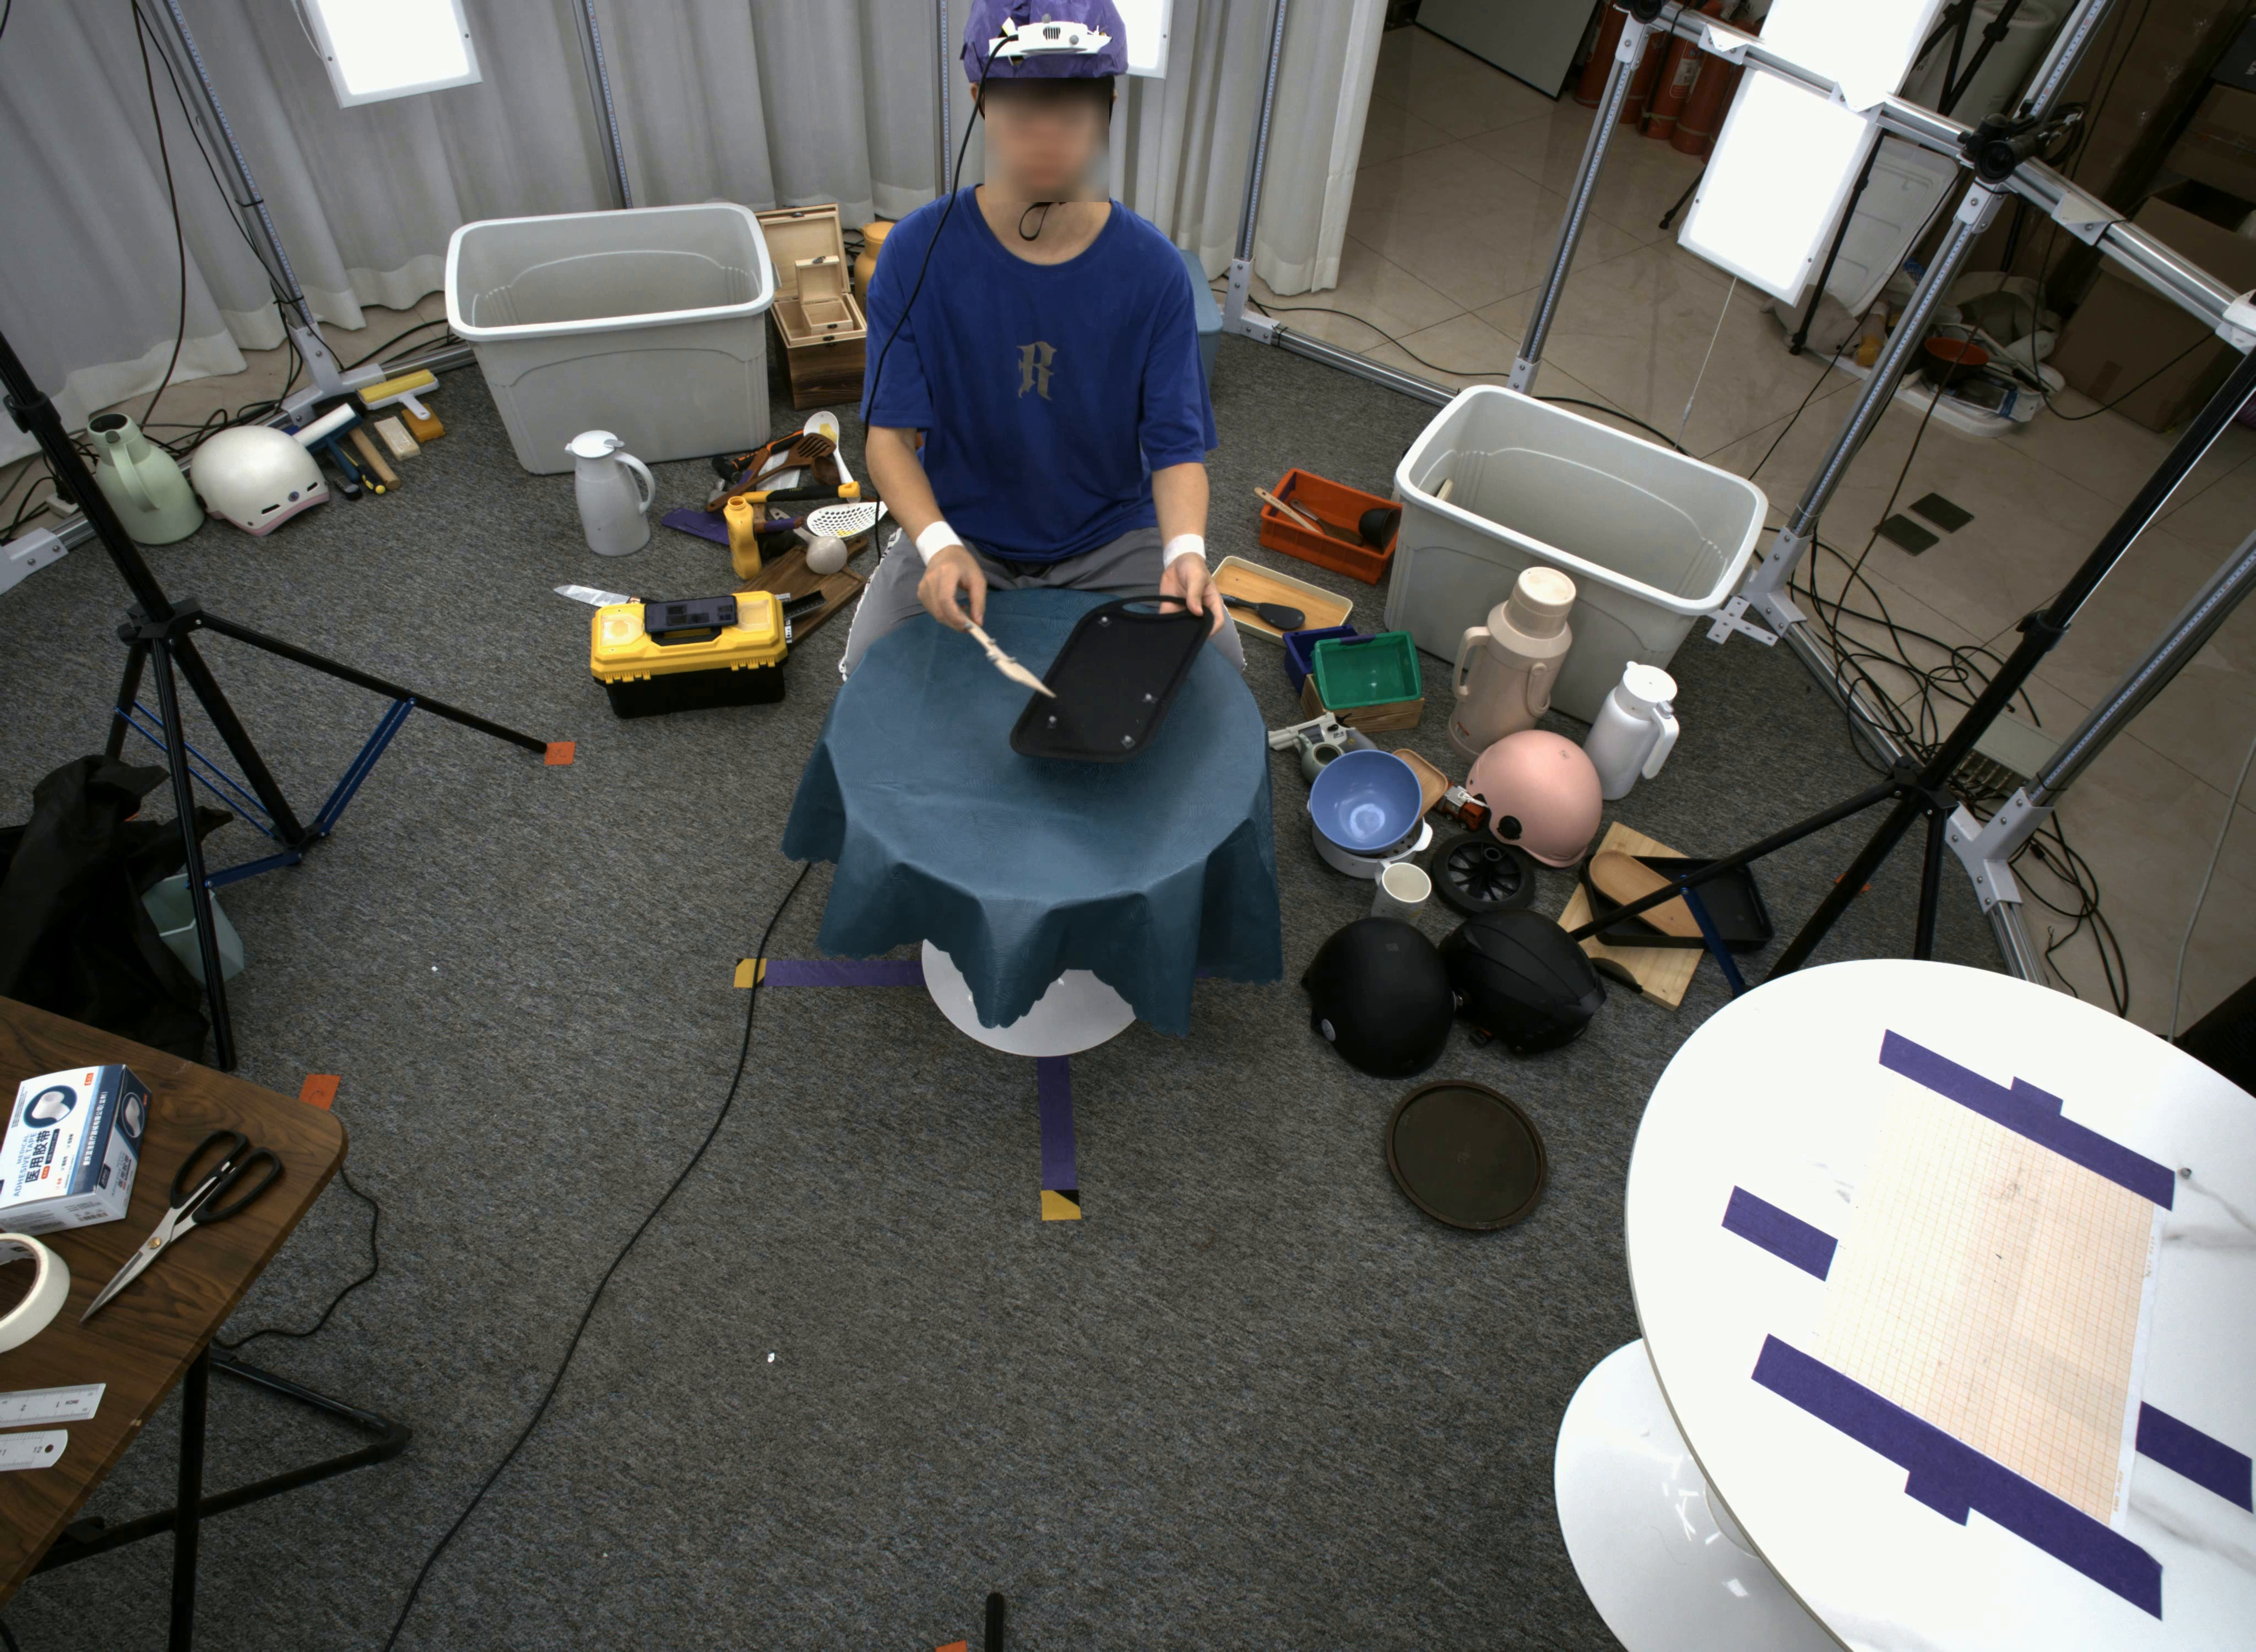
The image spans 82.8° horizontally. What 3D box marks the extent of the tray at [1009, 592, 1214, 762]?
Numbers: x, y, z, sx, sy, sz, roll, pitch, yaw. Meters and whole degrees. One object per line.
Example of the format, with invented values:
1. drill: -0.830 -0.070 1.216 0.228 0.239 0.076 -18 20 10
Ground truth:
1. tray: -0.018 -0.210 1.727 0.212 0.009 0.331 7 51 29

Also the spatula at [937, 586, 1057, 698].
1. spatula: -0.188 -0.253 1.728 0.071 0.010 0.299 23 18 -45
